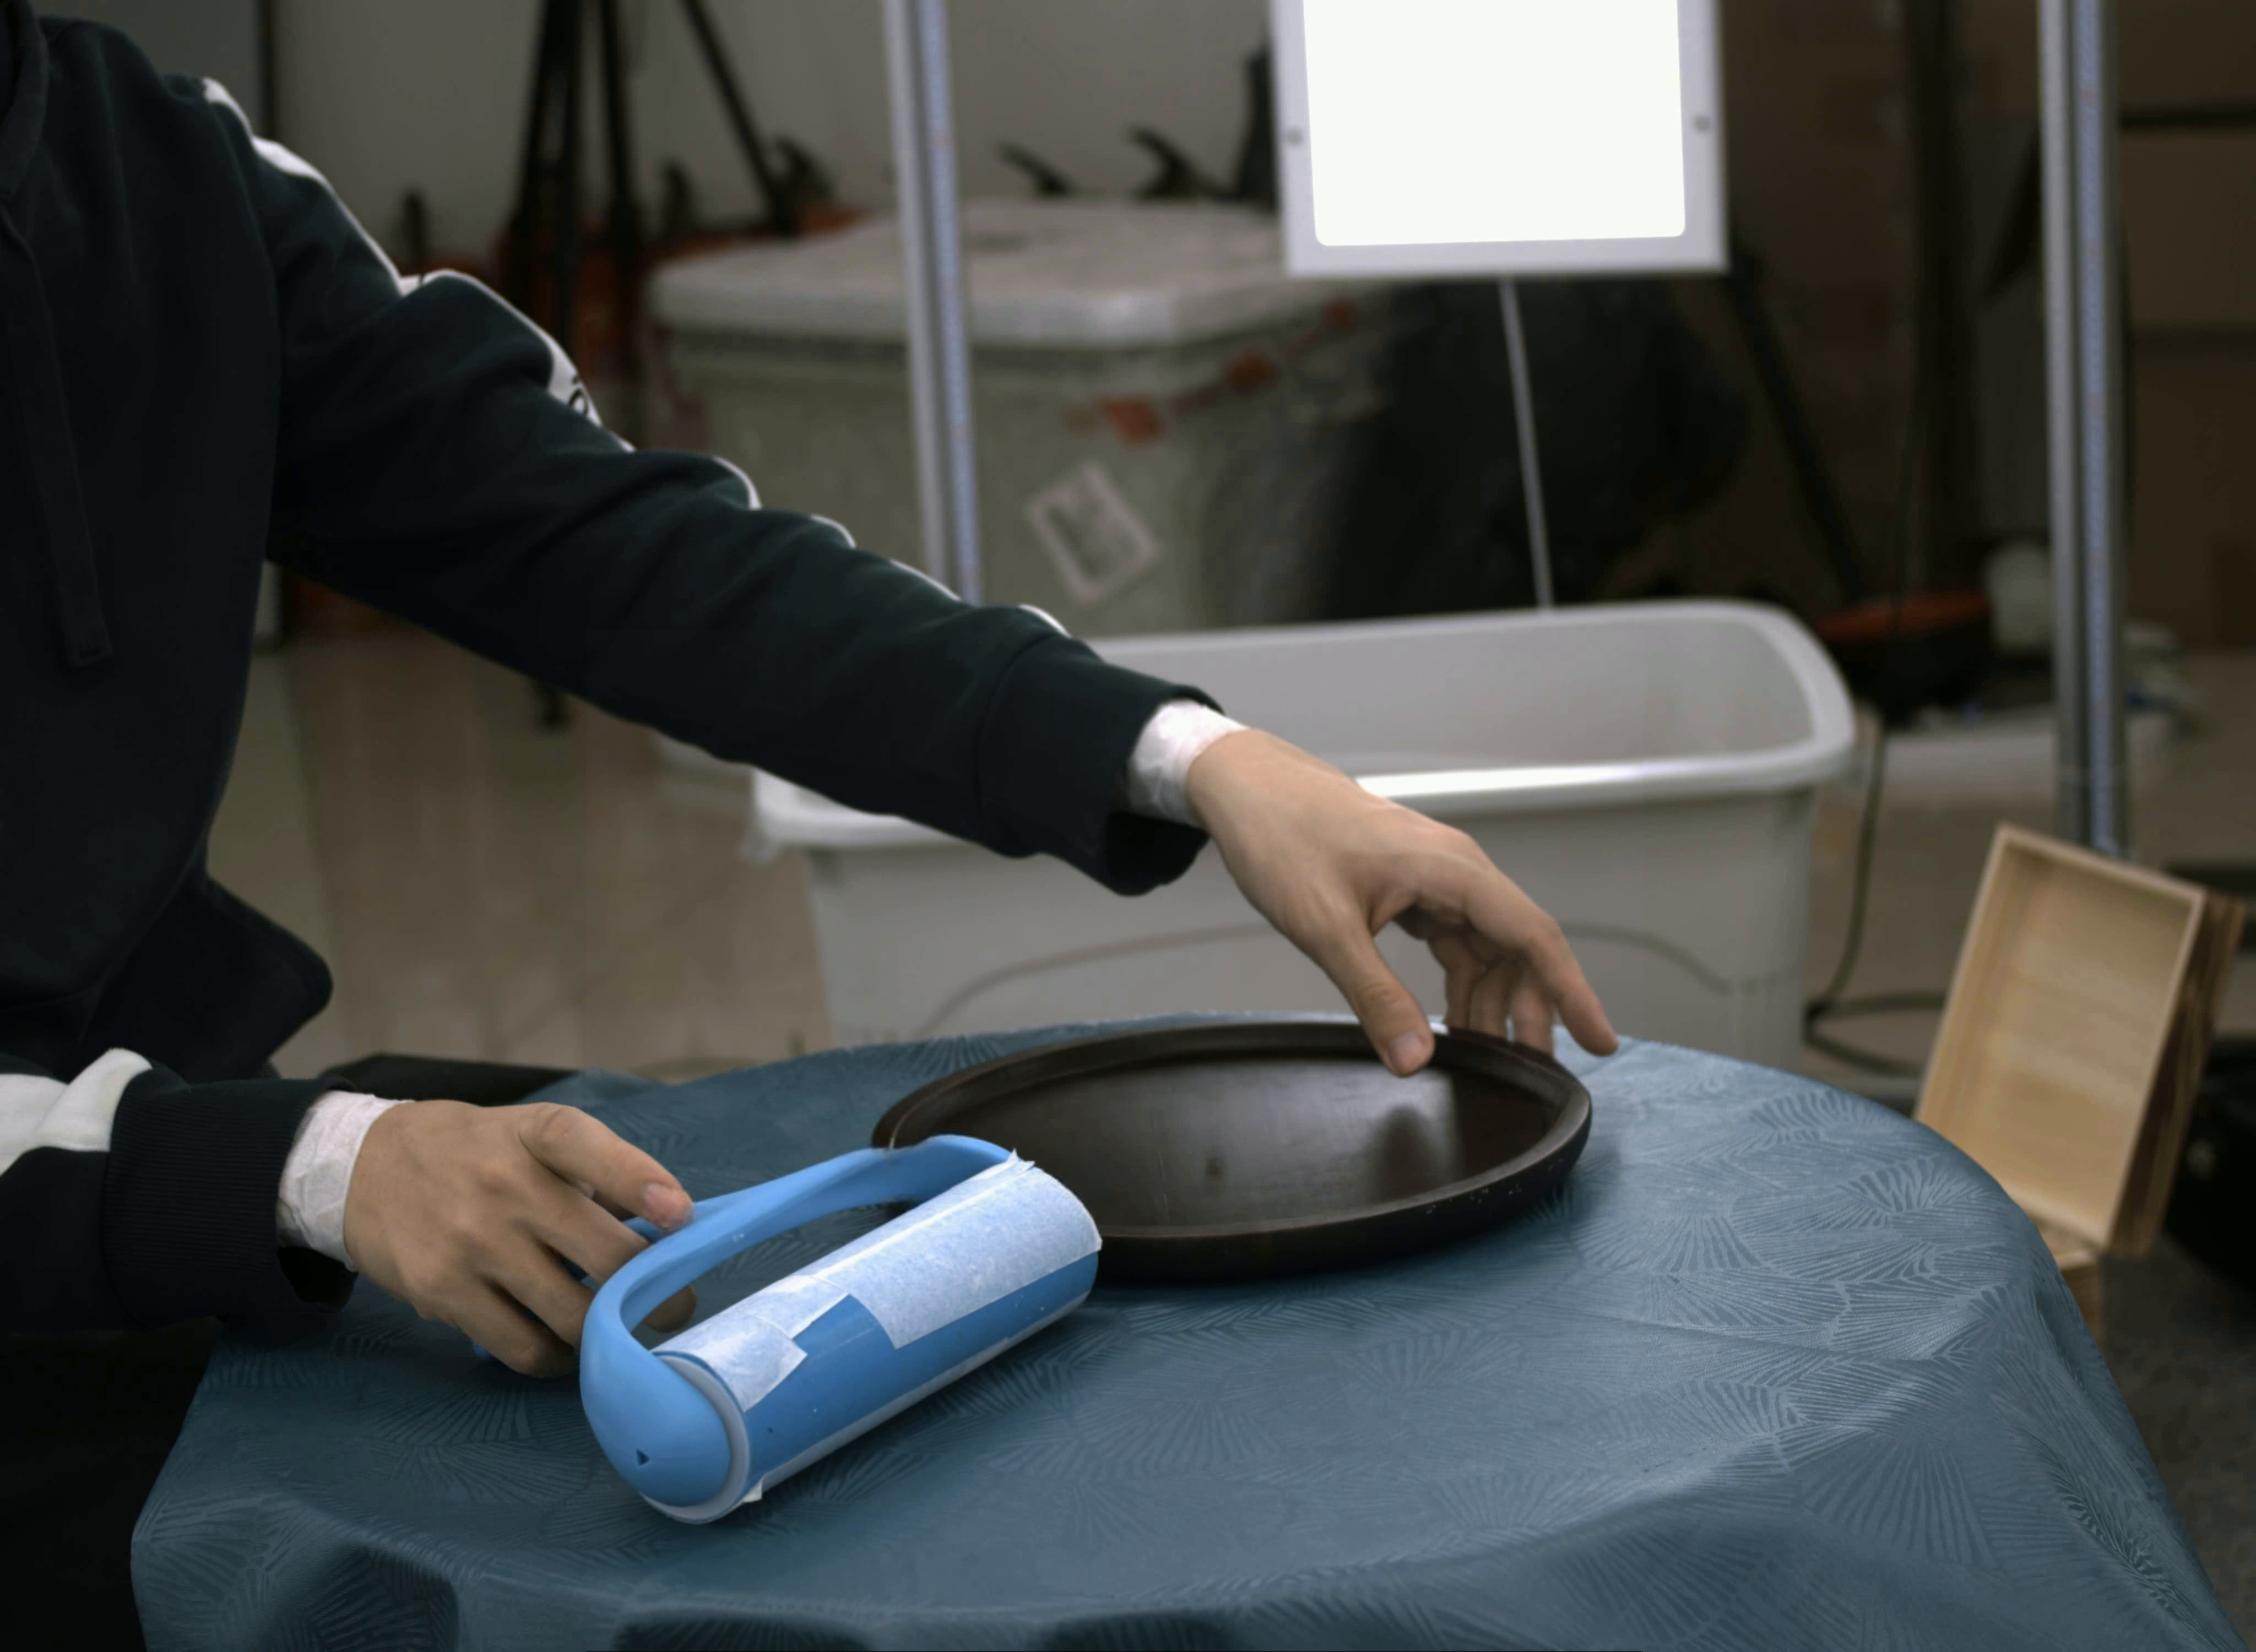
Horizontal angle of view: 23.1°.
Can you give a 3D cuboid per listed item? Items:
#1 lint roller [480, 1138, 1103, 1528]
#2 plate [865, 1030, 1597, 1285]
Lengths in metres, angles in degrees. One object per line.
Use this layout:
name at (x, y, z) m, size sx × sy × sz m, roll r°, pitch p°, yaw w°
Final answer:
lint roller at (-0.131, 0.151, 1.722) m, size 0.183 × 0.068 × 0.224 m, roll 5°, pitch 18°, yaw 30°
plate at (0.036, 0.111, 1.897) m, size 0.254 × 0.029 × 0.254 m, roll -4°, pitch 14°, yaw 0°
